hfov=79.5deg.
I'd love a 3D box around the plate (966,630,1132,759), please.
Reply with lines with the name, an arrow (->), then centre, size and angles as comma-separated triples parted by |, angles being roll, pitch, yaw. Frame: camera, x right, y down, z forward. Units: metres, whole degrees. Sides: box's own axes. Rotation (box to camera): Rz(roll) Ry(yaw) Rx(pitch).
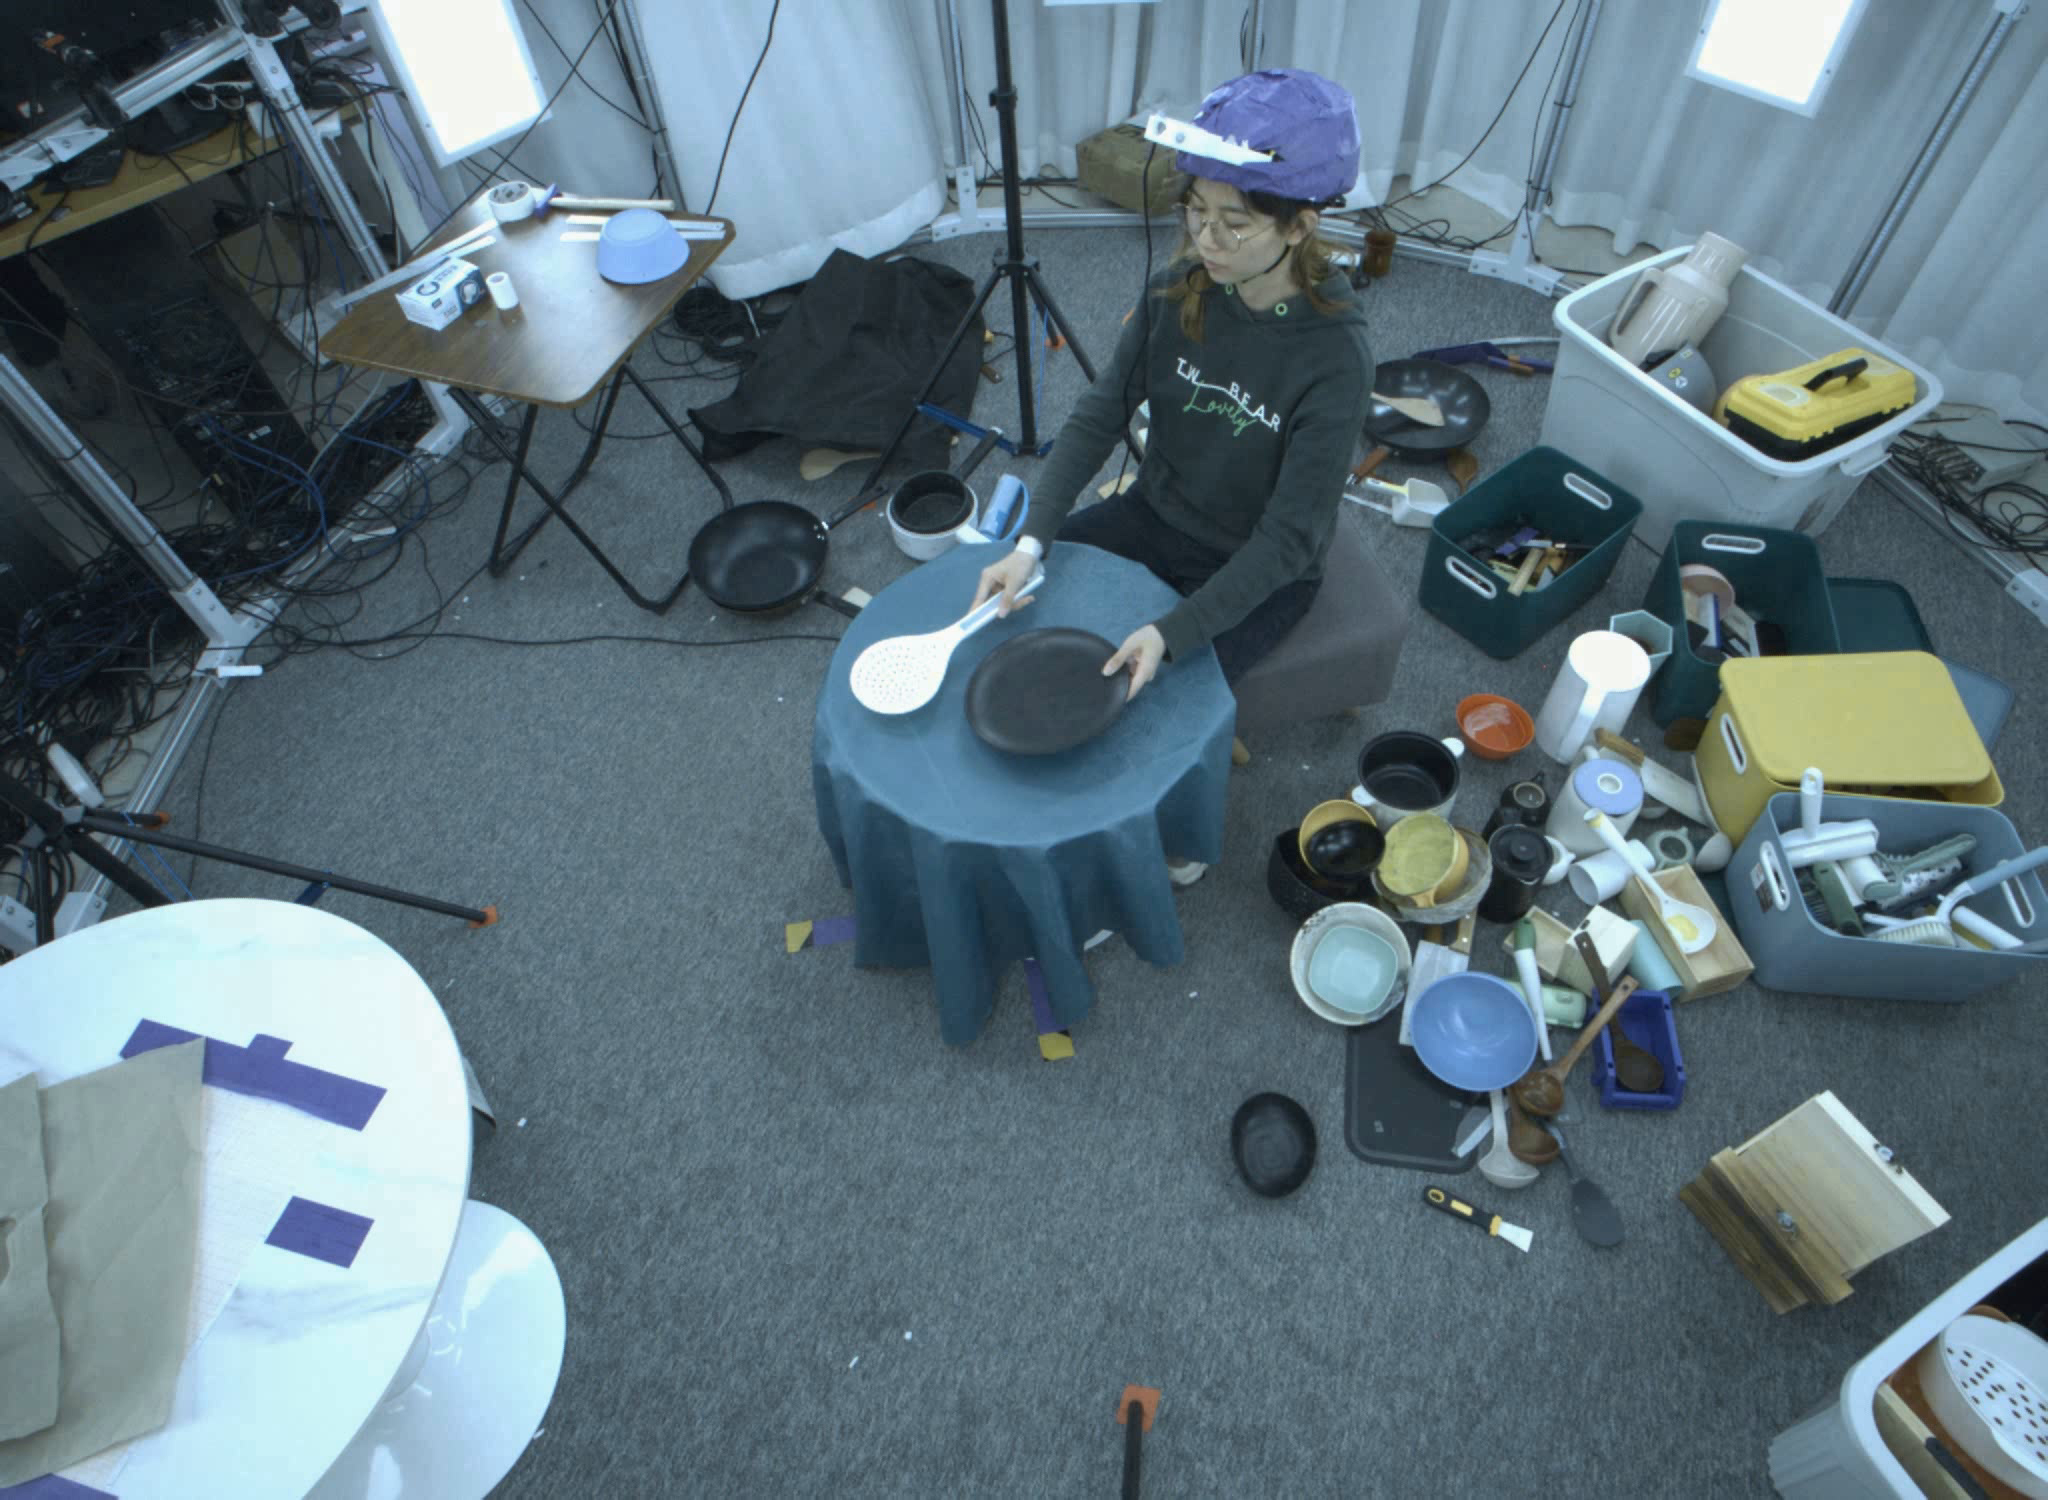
plate -> 0.037, -0.078, 1.788 | 0.243, 0.024, 0.242 | -6, 52, 8

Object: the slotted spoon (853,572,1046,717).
slotted spoon -> -0.105, -0.168, 1.855 | 0.351, 0.046, 0.134 | -40, 67, -14
